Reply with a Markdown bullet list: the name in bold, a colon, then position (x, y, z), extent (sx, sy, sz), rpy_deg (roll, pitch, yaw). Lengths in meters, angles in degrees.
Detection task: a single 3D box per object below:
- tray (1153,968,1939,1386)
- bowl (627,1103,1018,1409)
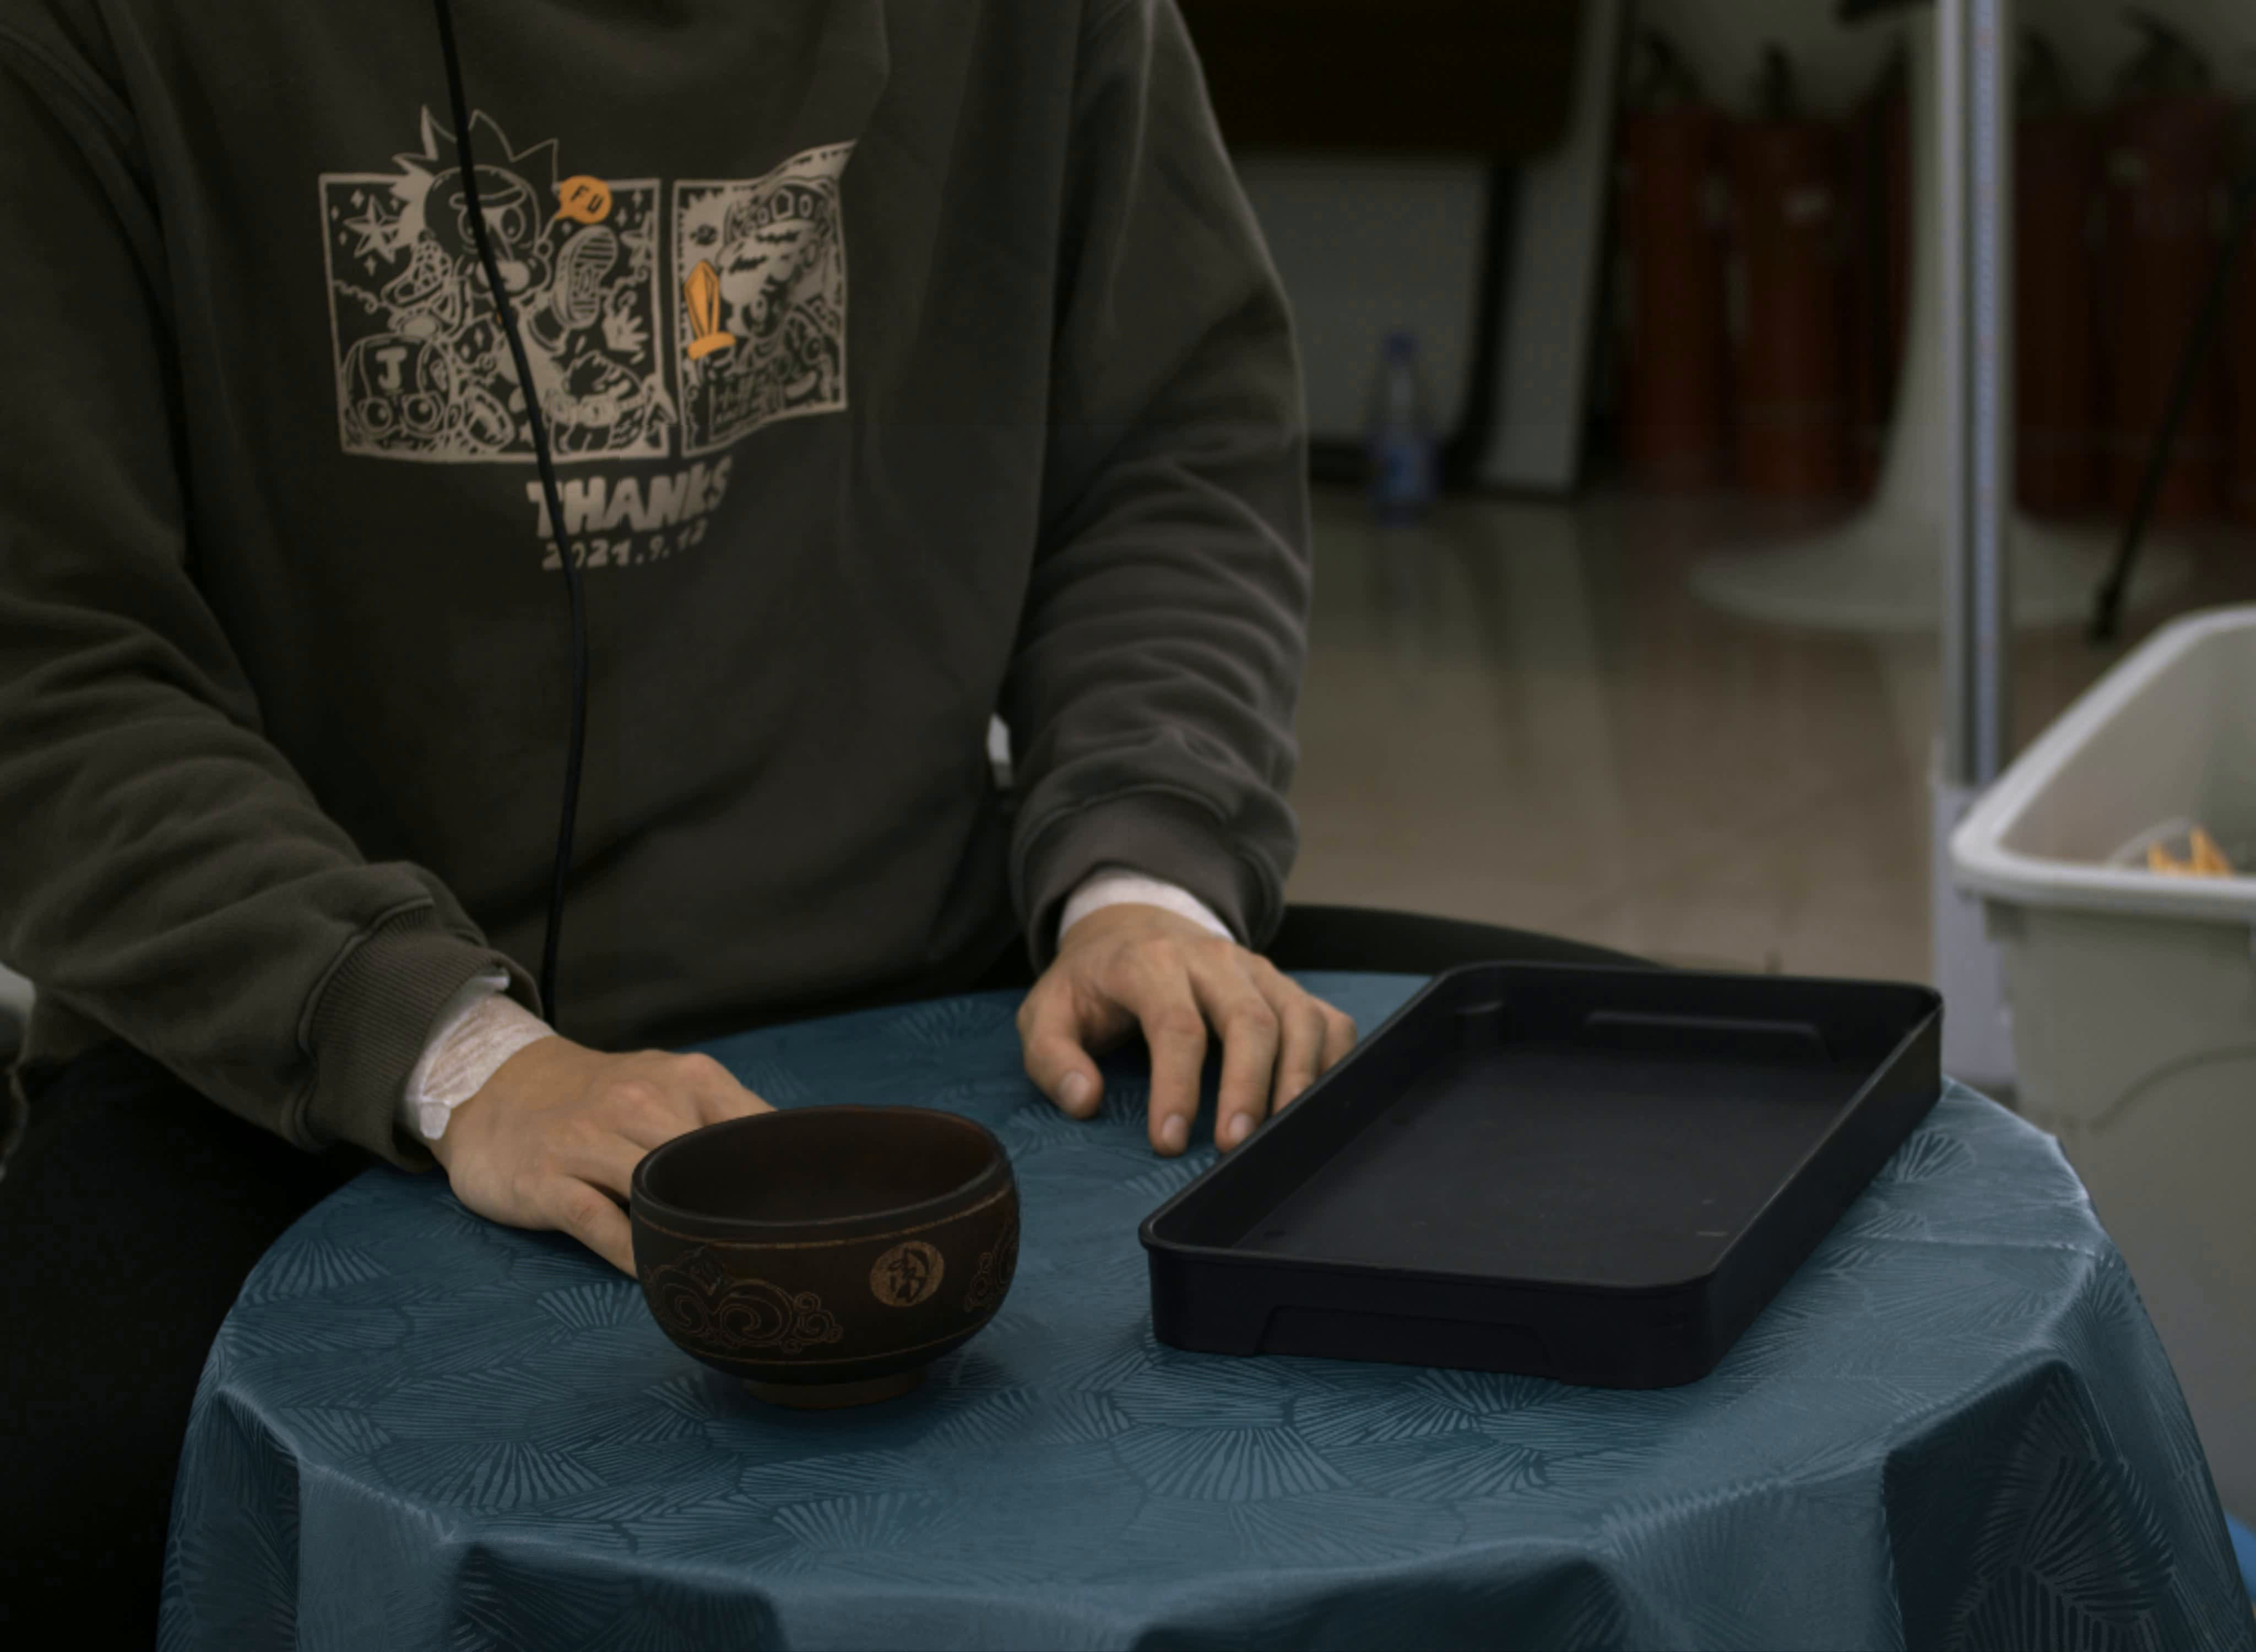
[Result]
- **tray**: position (0.142, 0.106, 1.723), extent (0.184, 0.037, 0.314), rpy_deg (1, 15, 22)
- **bowl**: position (-0.089, 0.132, 1.608), extent (0.116, 0.070, 0.118), rpy_deg (-5, 12, 0)
